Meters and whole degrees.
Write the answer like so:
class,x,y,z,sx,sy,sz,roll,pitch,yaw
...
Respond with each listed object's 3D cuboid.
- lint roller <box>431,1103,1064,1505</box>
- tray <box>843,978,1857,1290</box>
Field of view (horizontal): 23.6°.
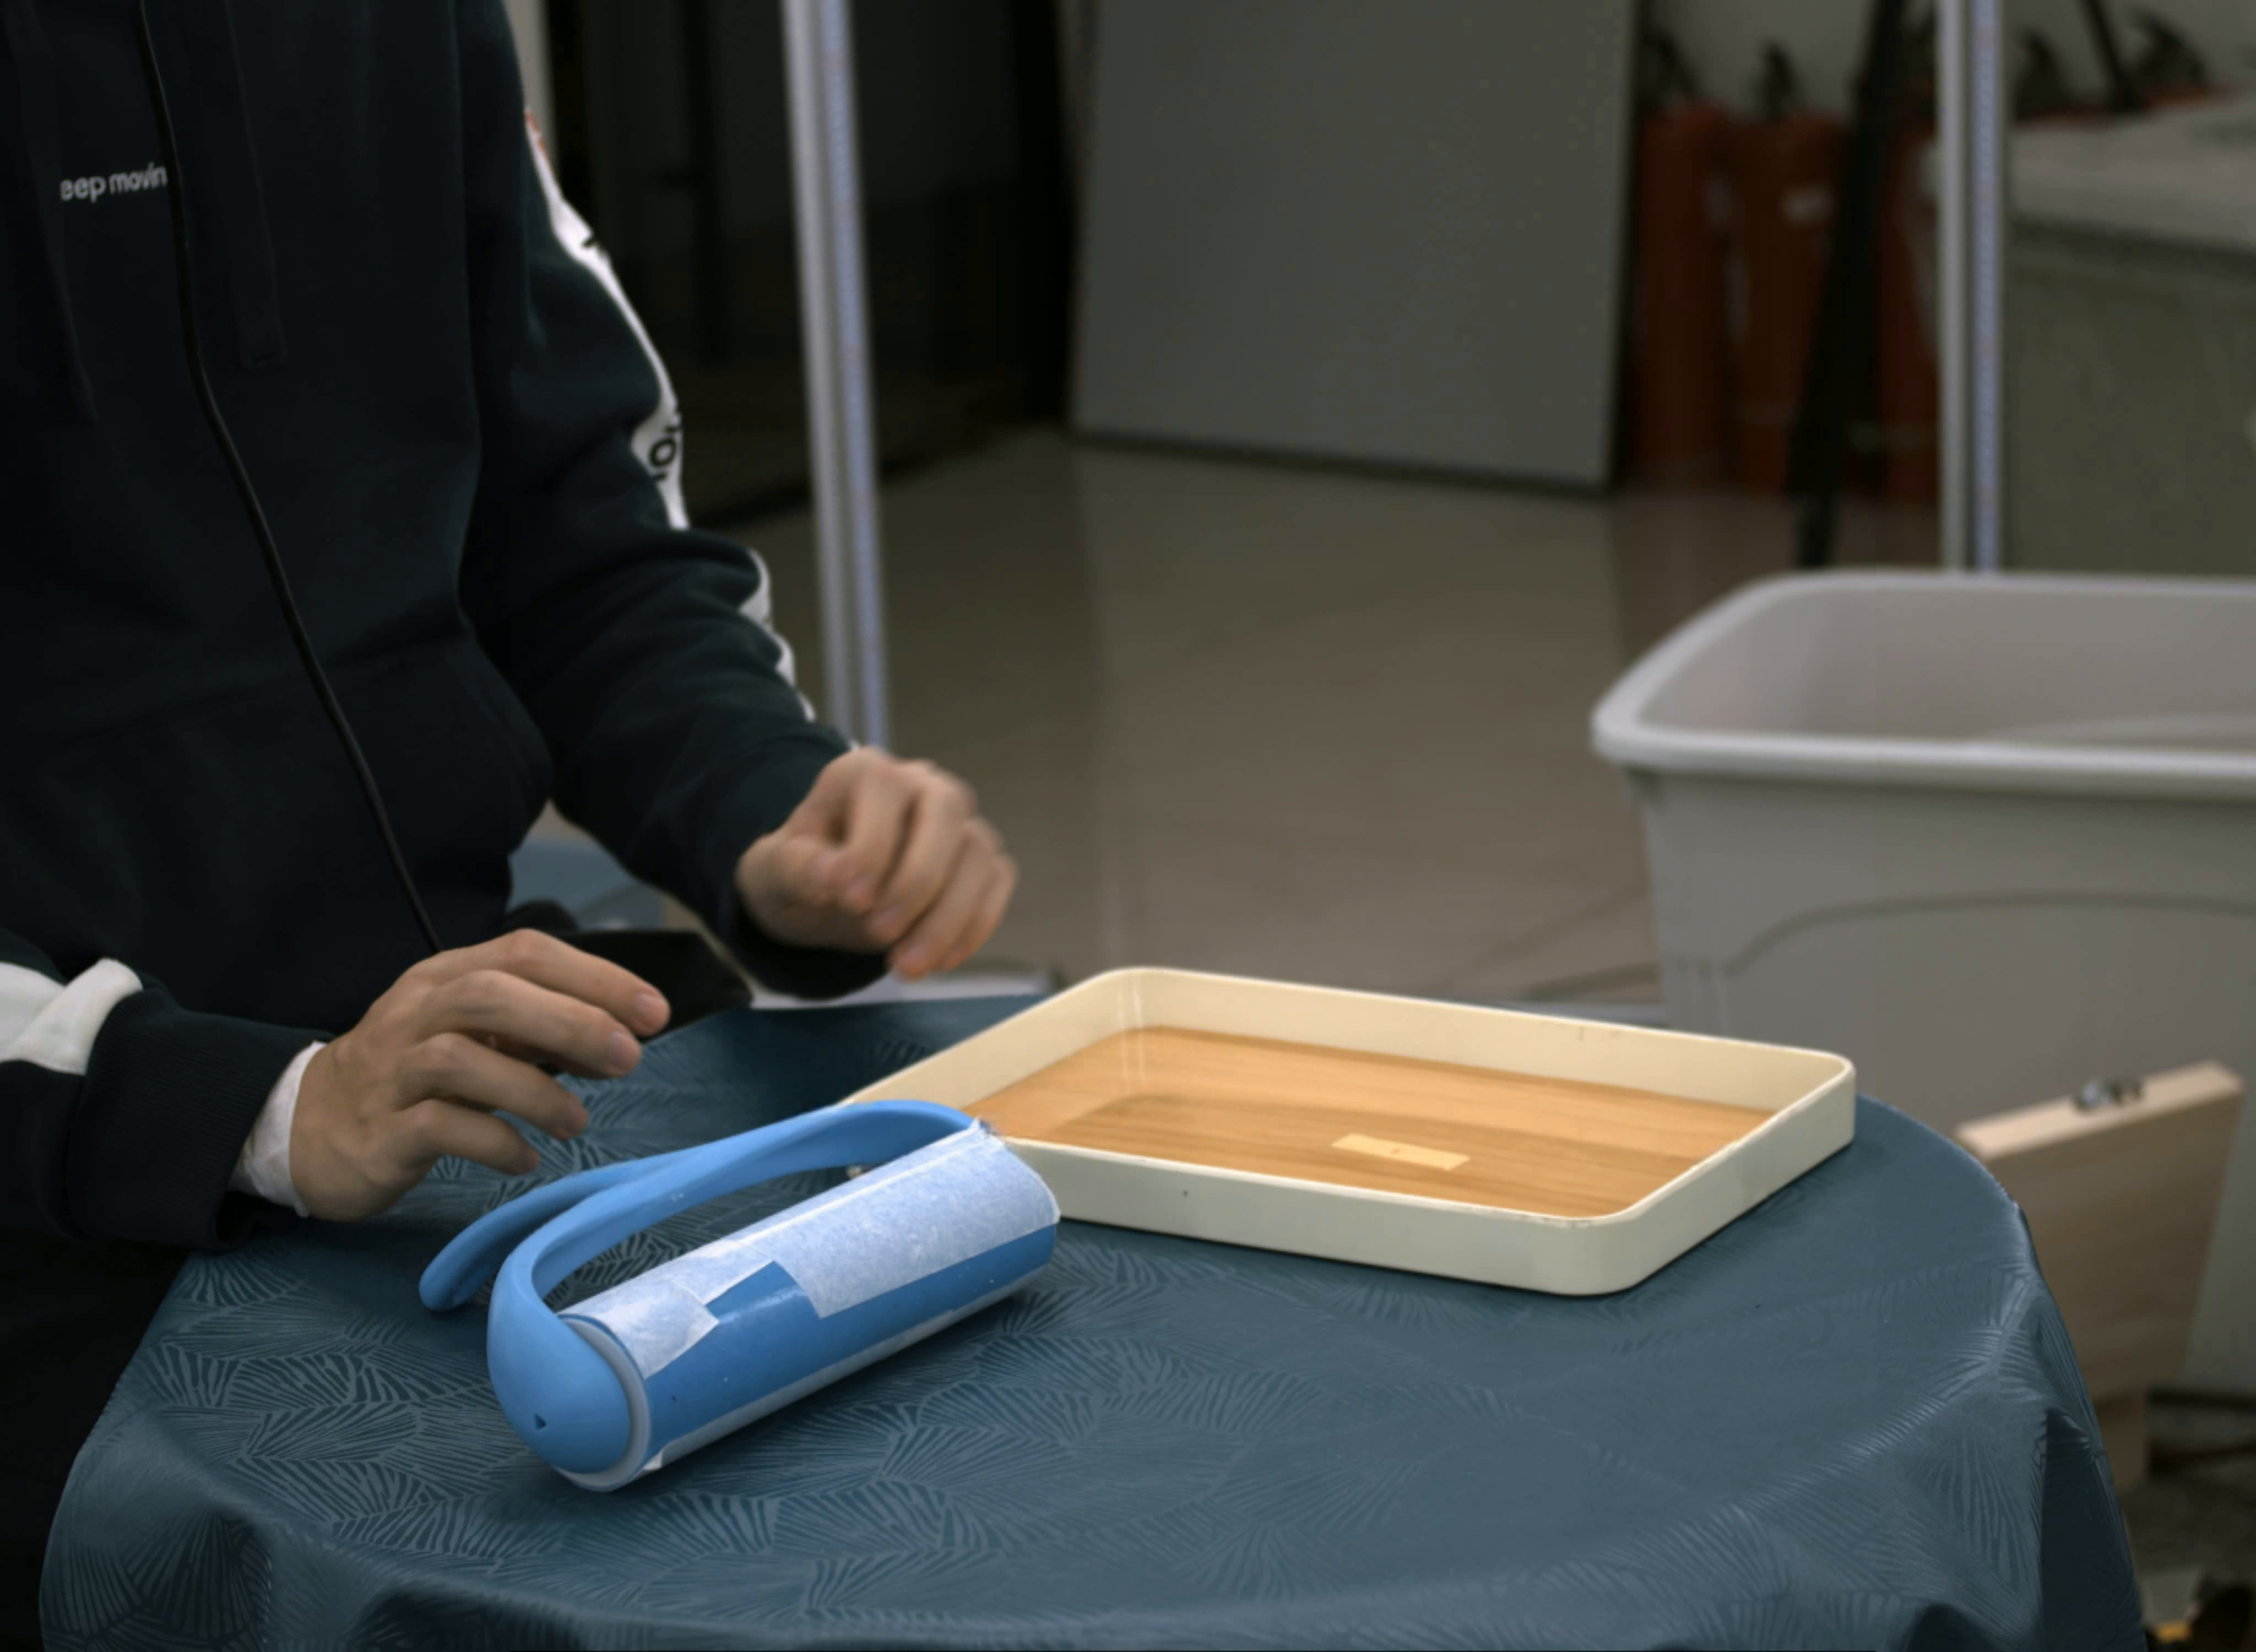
class,x,y,z,sx,sy,sz,roll,pitch,yaw
lint roller,-0.144,0.137,1.636,0.181,0.068,0.225,6,19,33
tray,0.073,0.099,1.785,0.302,0.028,0.188,5,16,34
